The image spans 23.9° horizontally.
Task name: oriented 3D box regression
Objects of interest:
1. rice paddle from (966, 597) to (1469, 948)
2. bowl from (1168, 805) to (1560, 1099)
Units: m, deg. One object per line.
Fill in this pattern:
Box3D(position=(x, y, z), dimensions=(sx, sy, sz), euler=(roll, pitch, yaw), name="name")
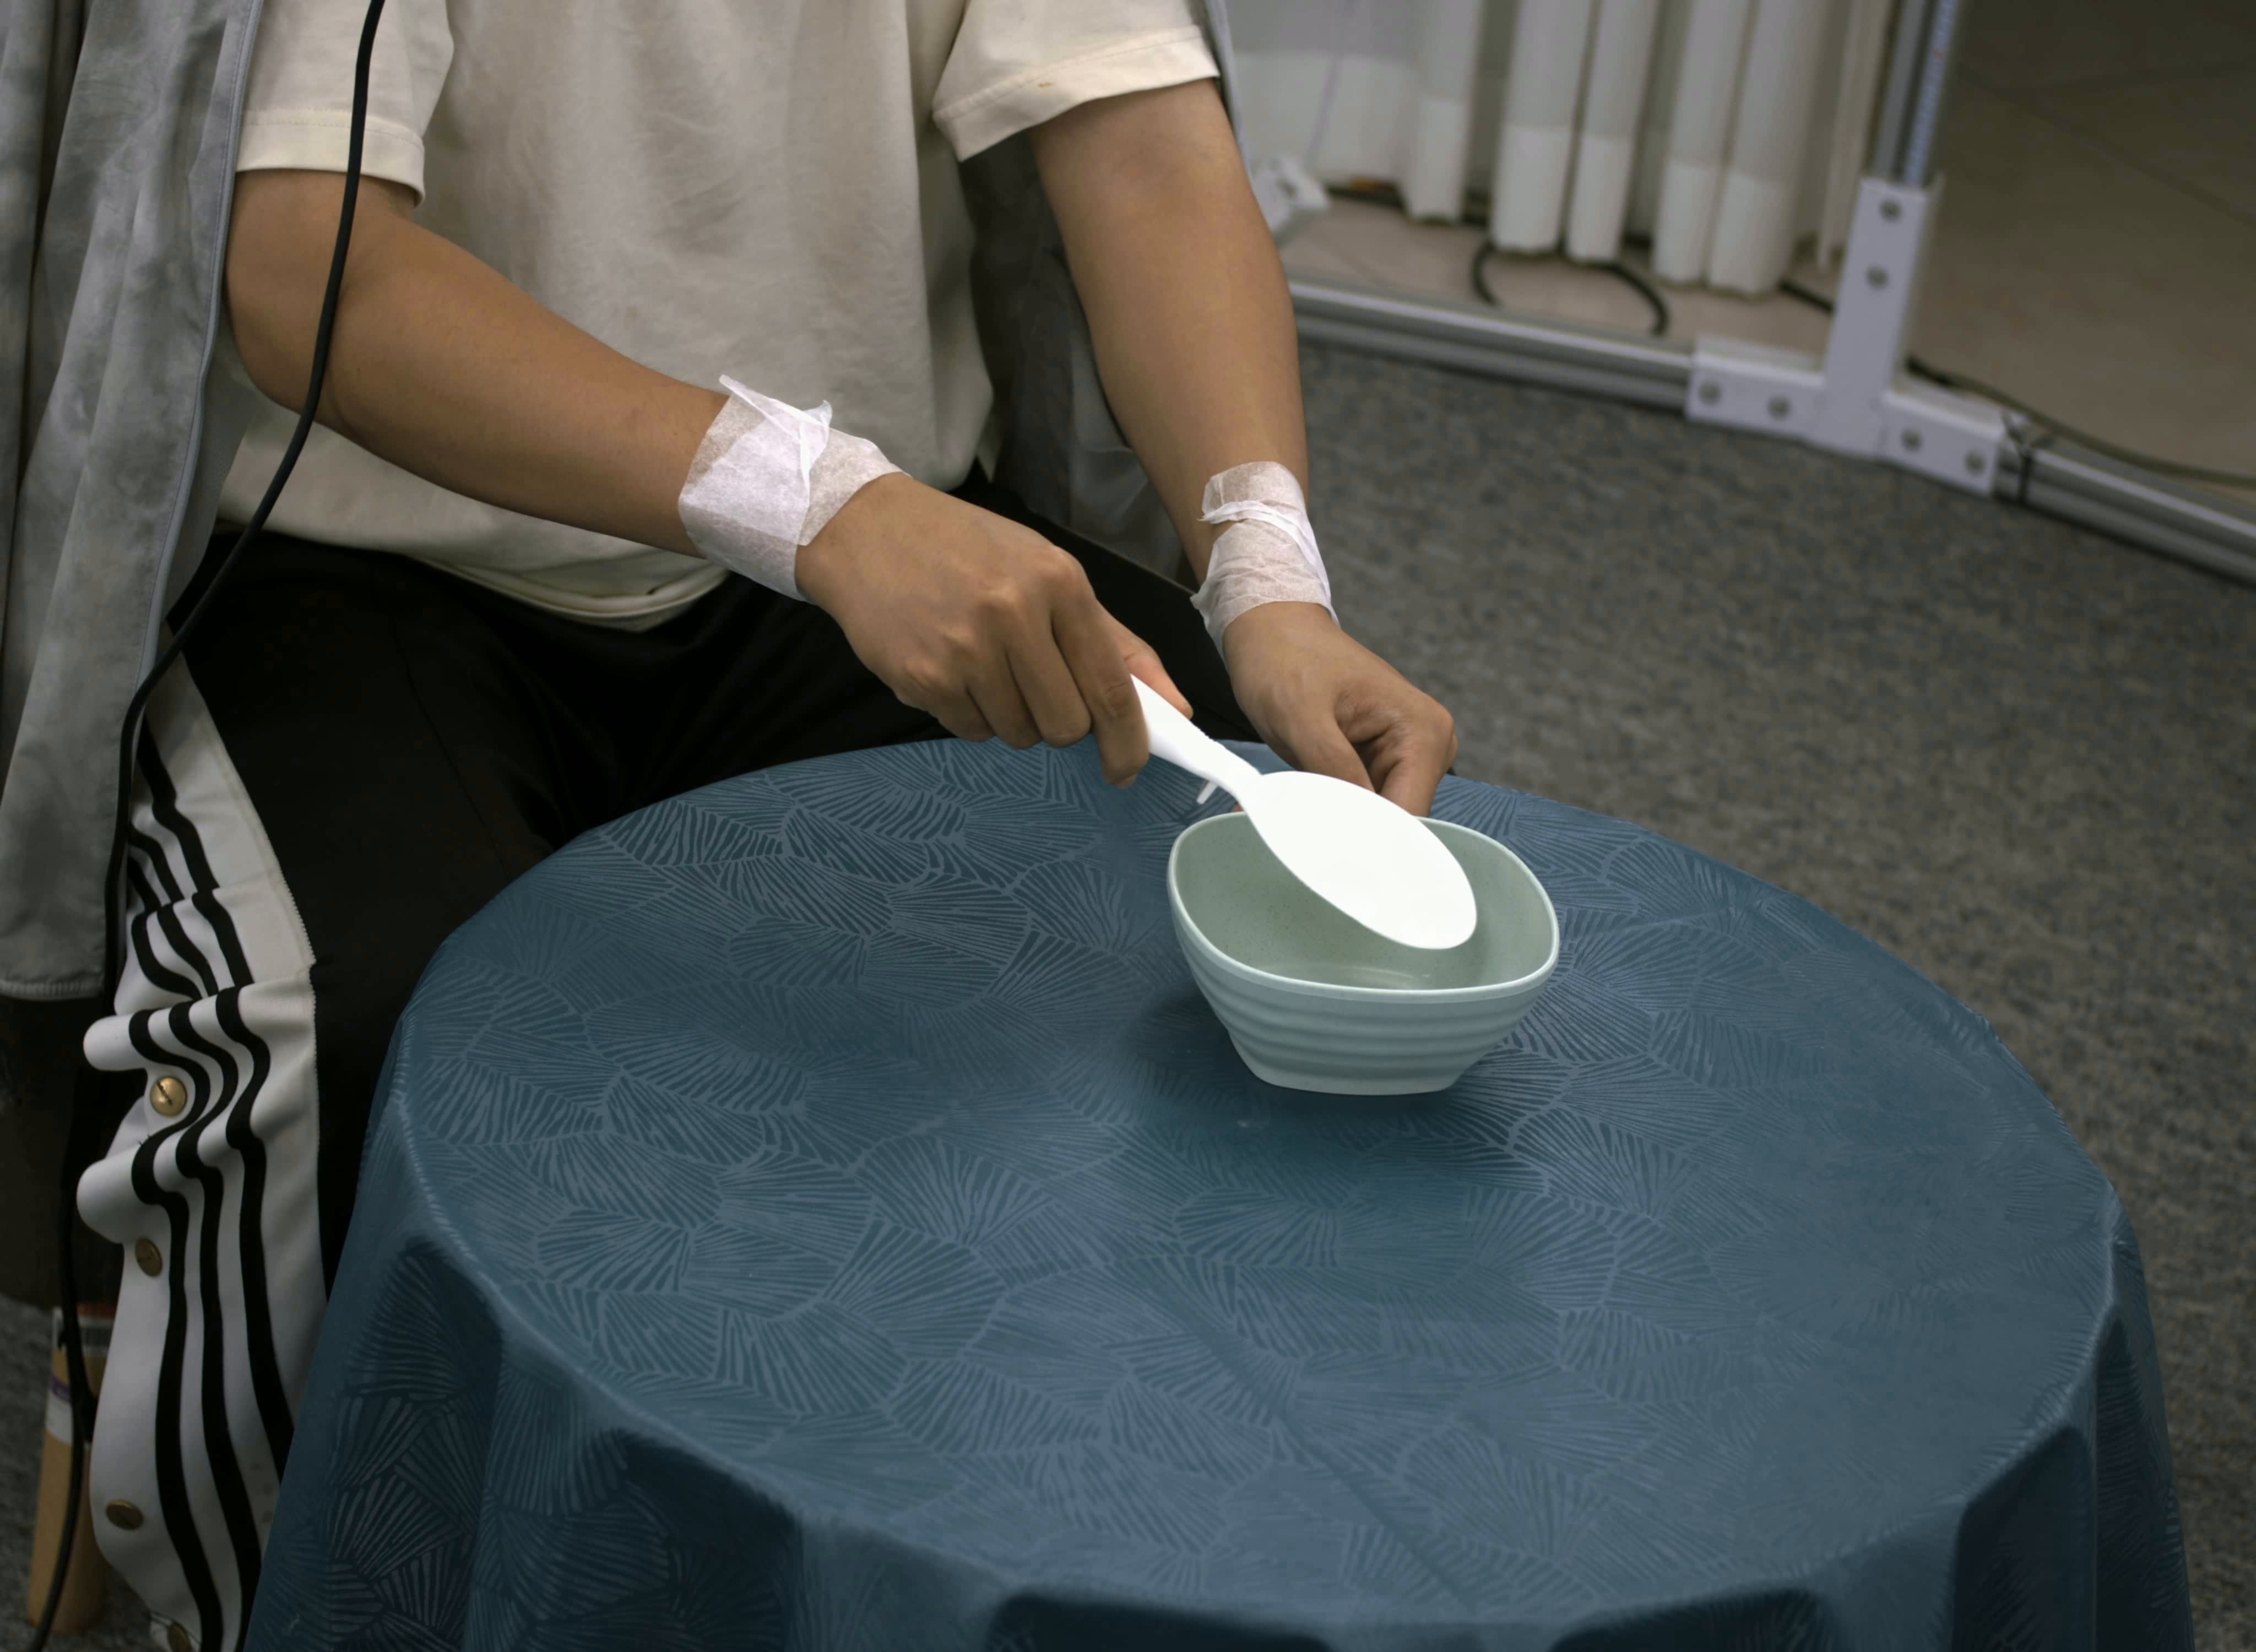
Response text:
Box3D(position=(0.037, -0.018, 1.900), dimensions=(0.204, 0.029, 0.069), euler=(31, 40, -7), name="rice paddle")
Box3D(position=(0.081, 0.051, 1.904), dimensions=(0.151, 0.058, 0.152), euler=(5, 29, -3), name="bowl")
